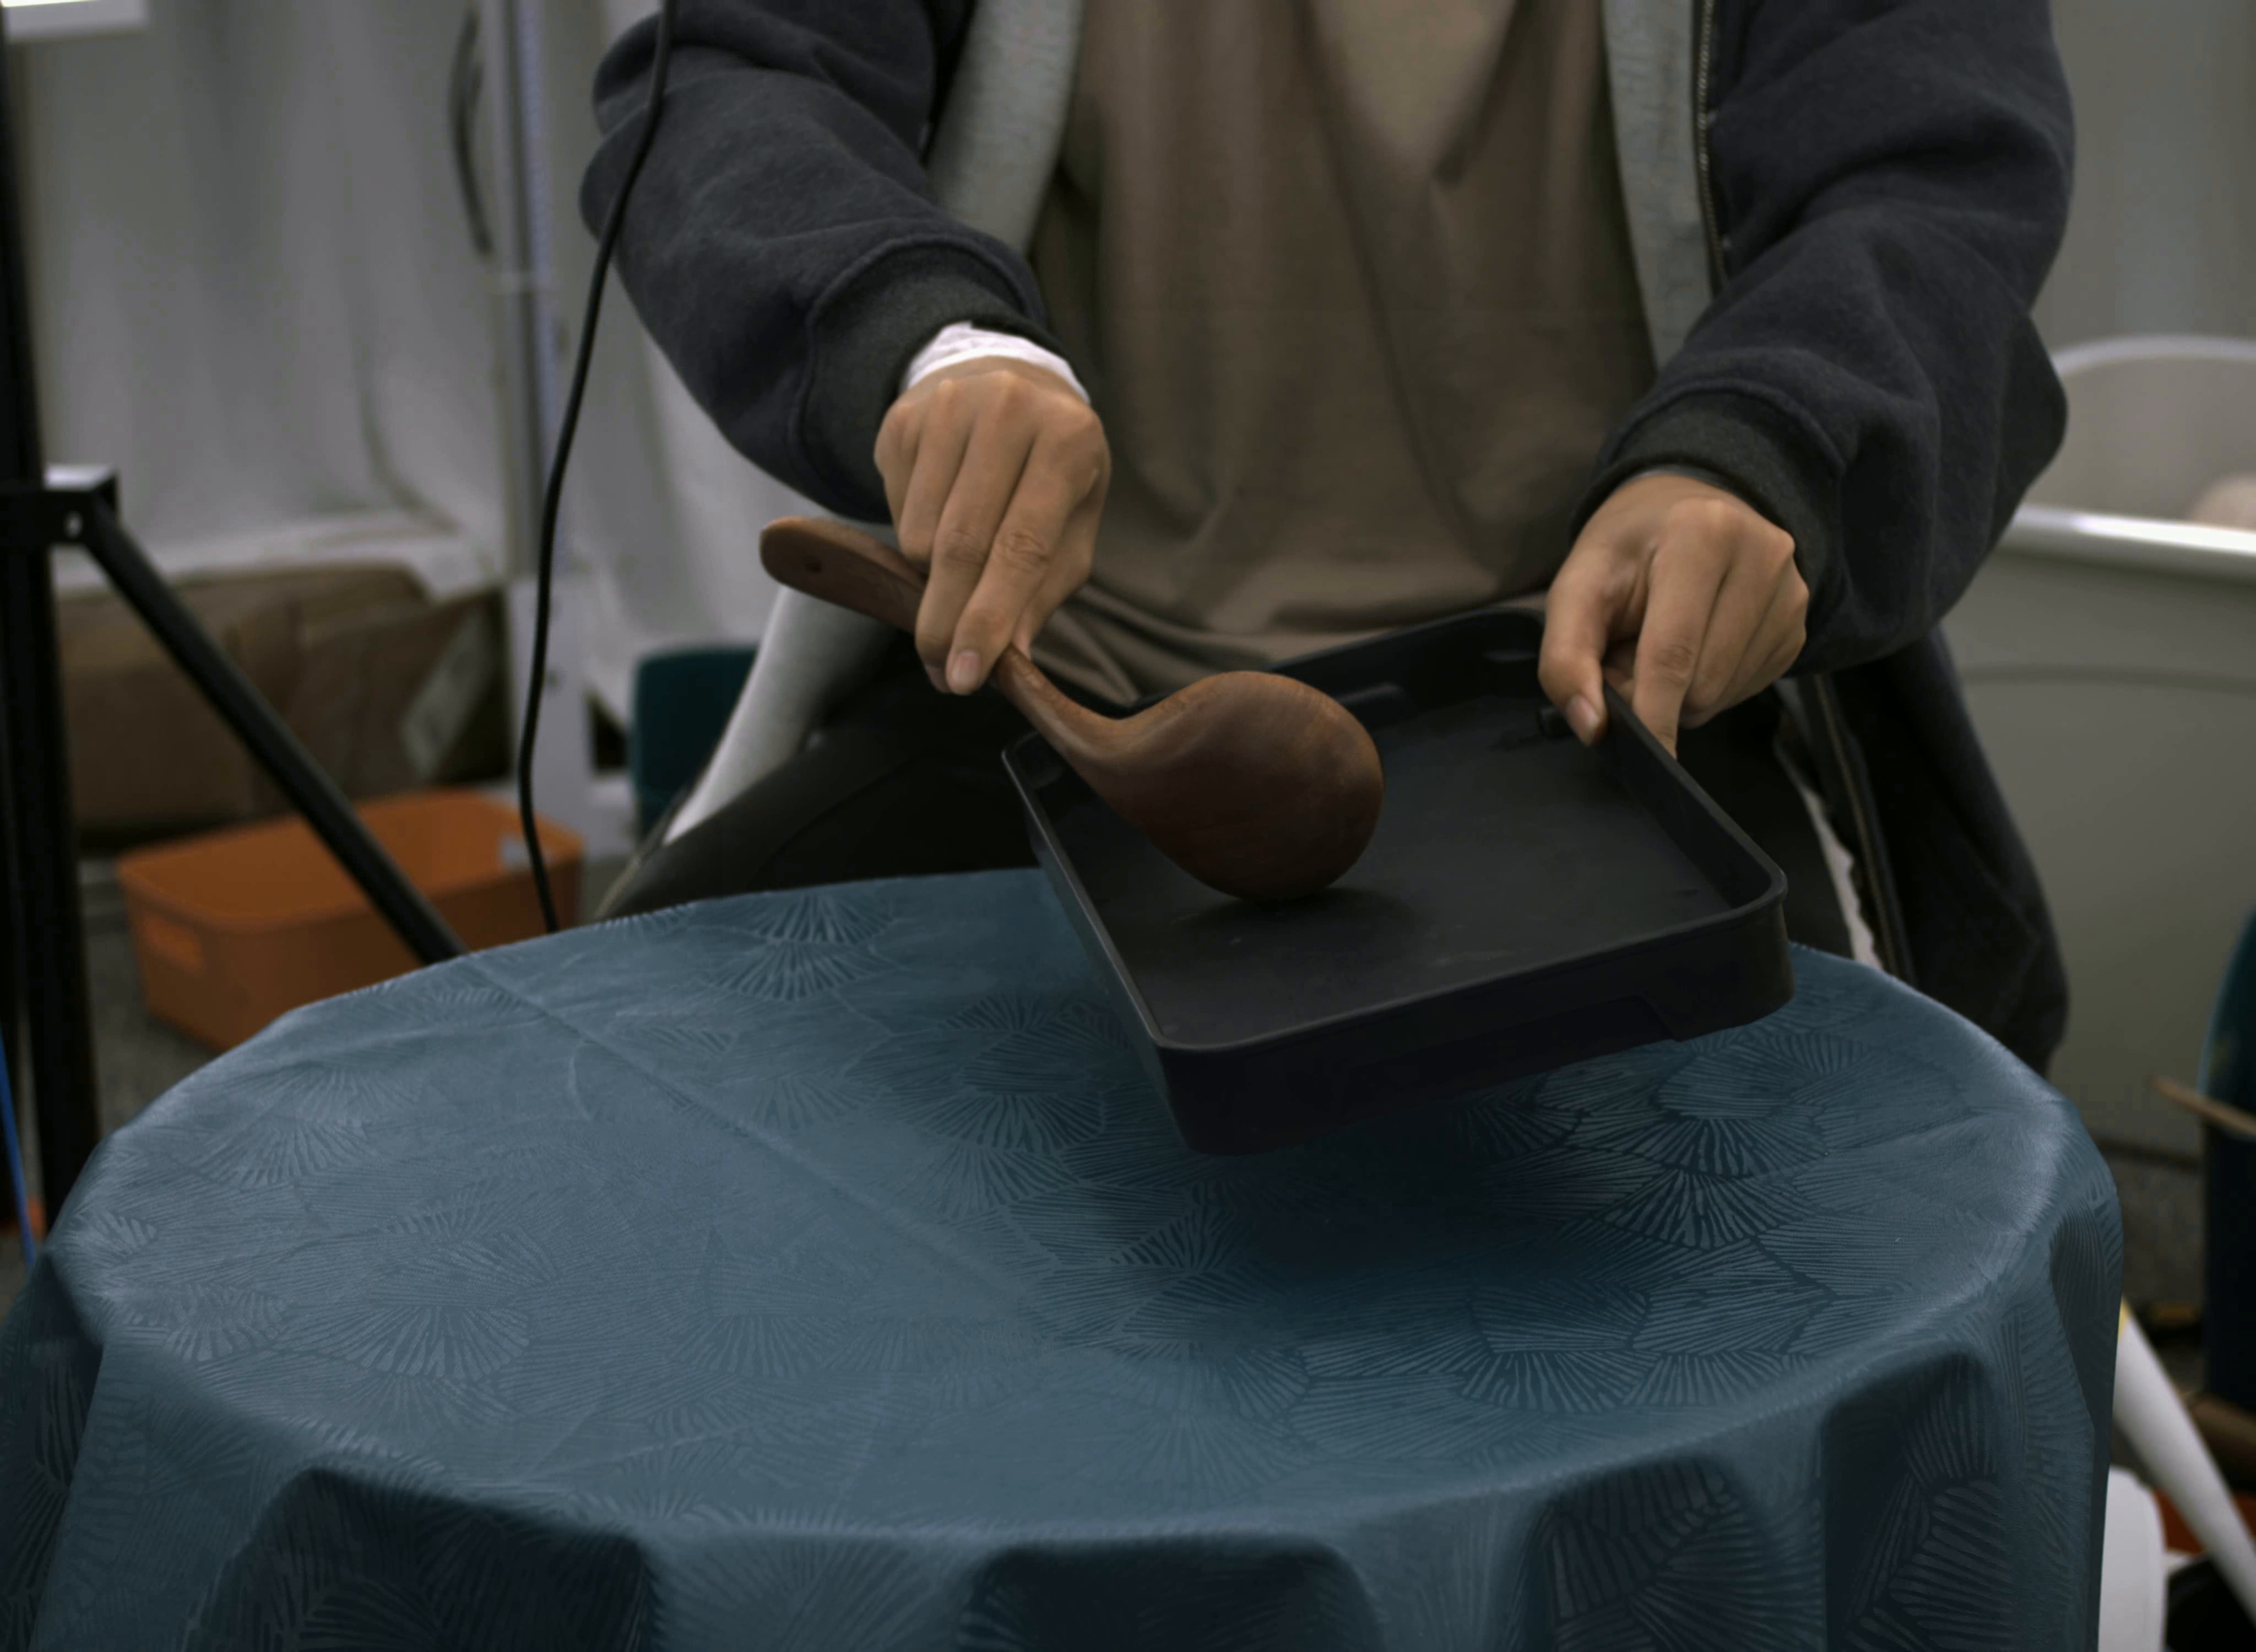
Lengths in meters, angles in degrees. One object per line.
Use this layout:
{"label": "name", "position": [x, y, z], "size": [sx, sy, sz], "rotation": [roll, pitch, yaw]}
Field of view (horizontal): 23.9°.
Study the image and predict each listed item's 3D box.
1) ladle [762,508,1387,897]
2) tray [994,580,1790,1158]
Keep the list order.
{"label": "ladle", "position": [-0.019, -0.051, 1.672], "size": [0.064, 0.076, 0.266], "rotation": [-17, 33, -32]}
{"label": "tray", "position": [0.072, 0.007, 1.594], "size": [0.183, 0.037, 0.322], "rotation": [-15, 21, -5]}
